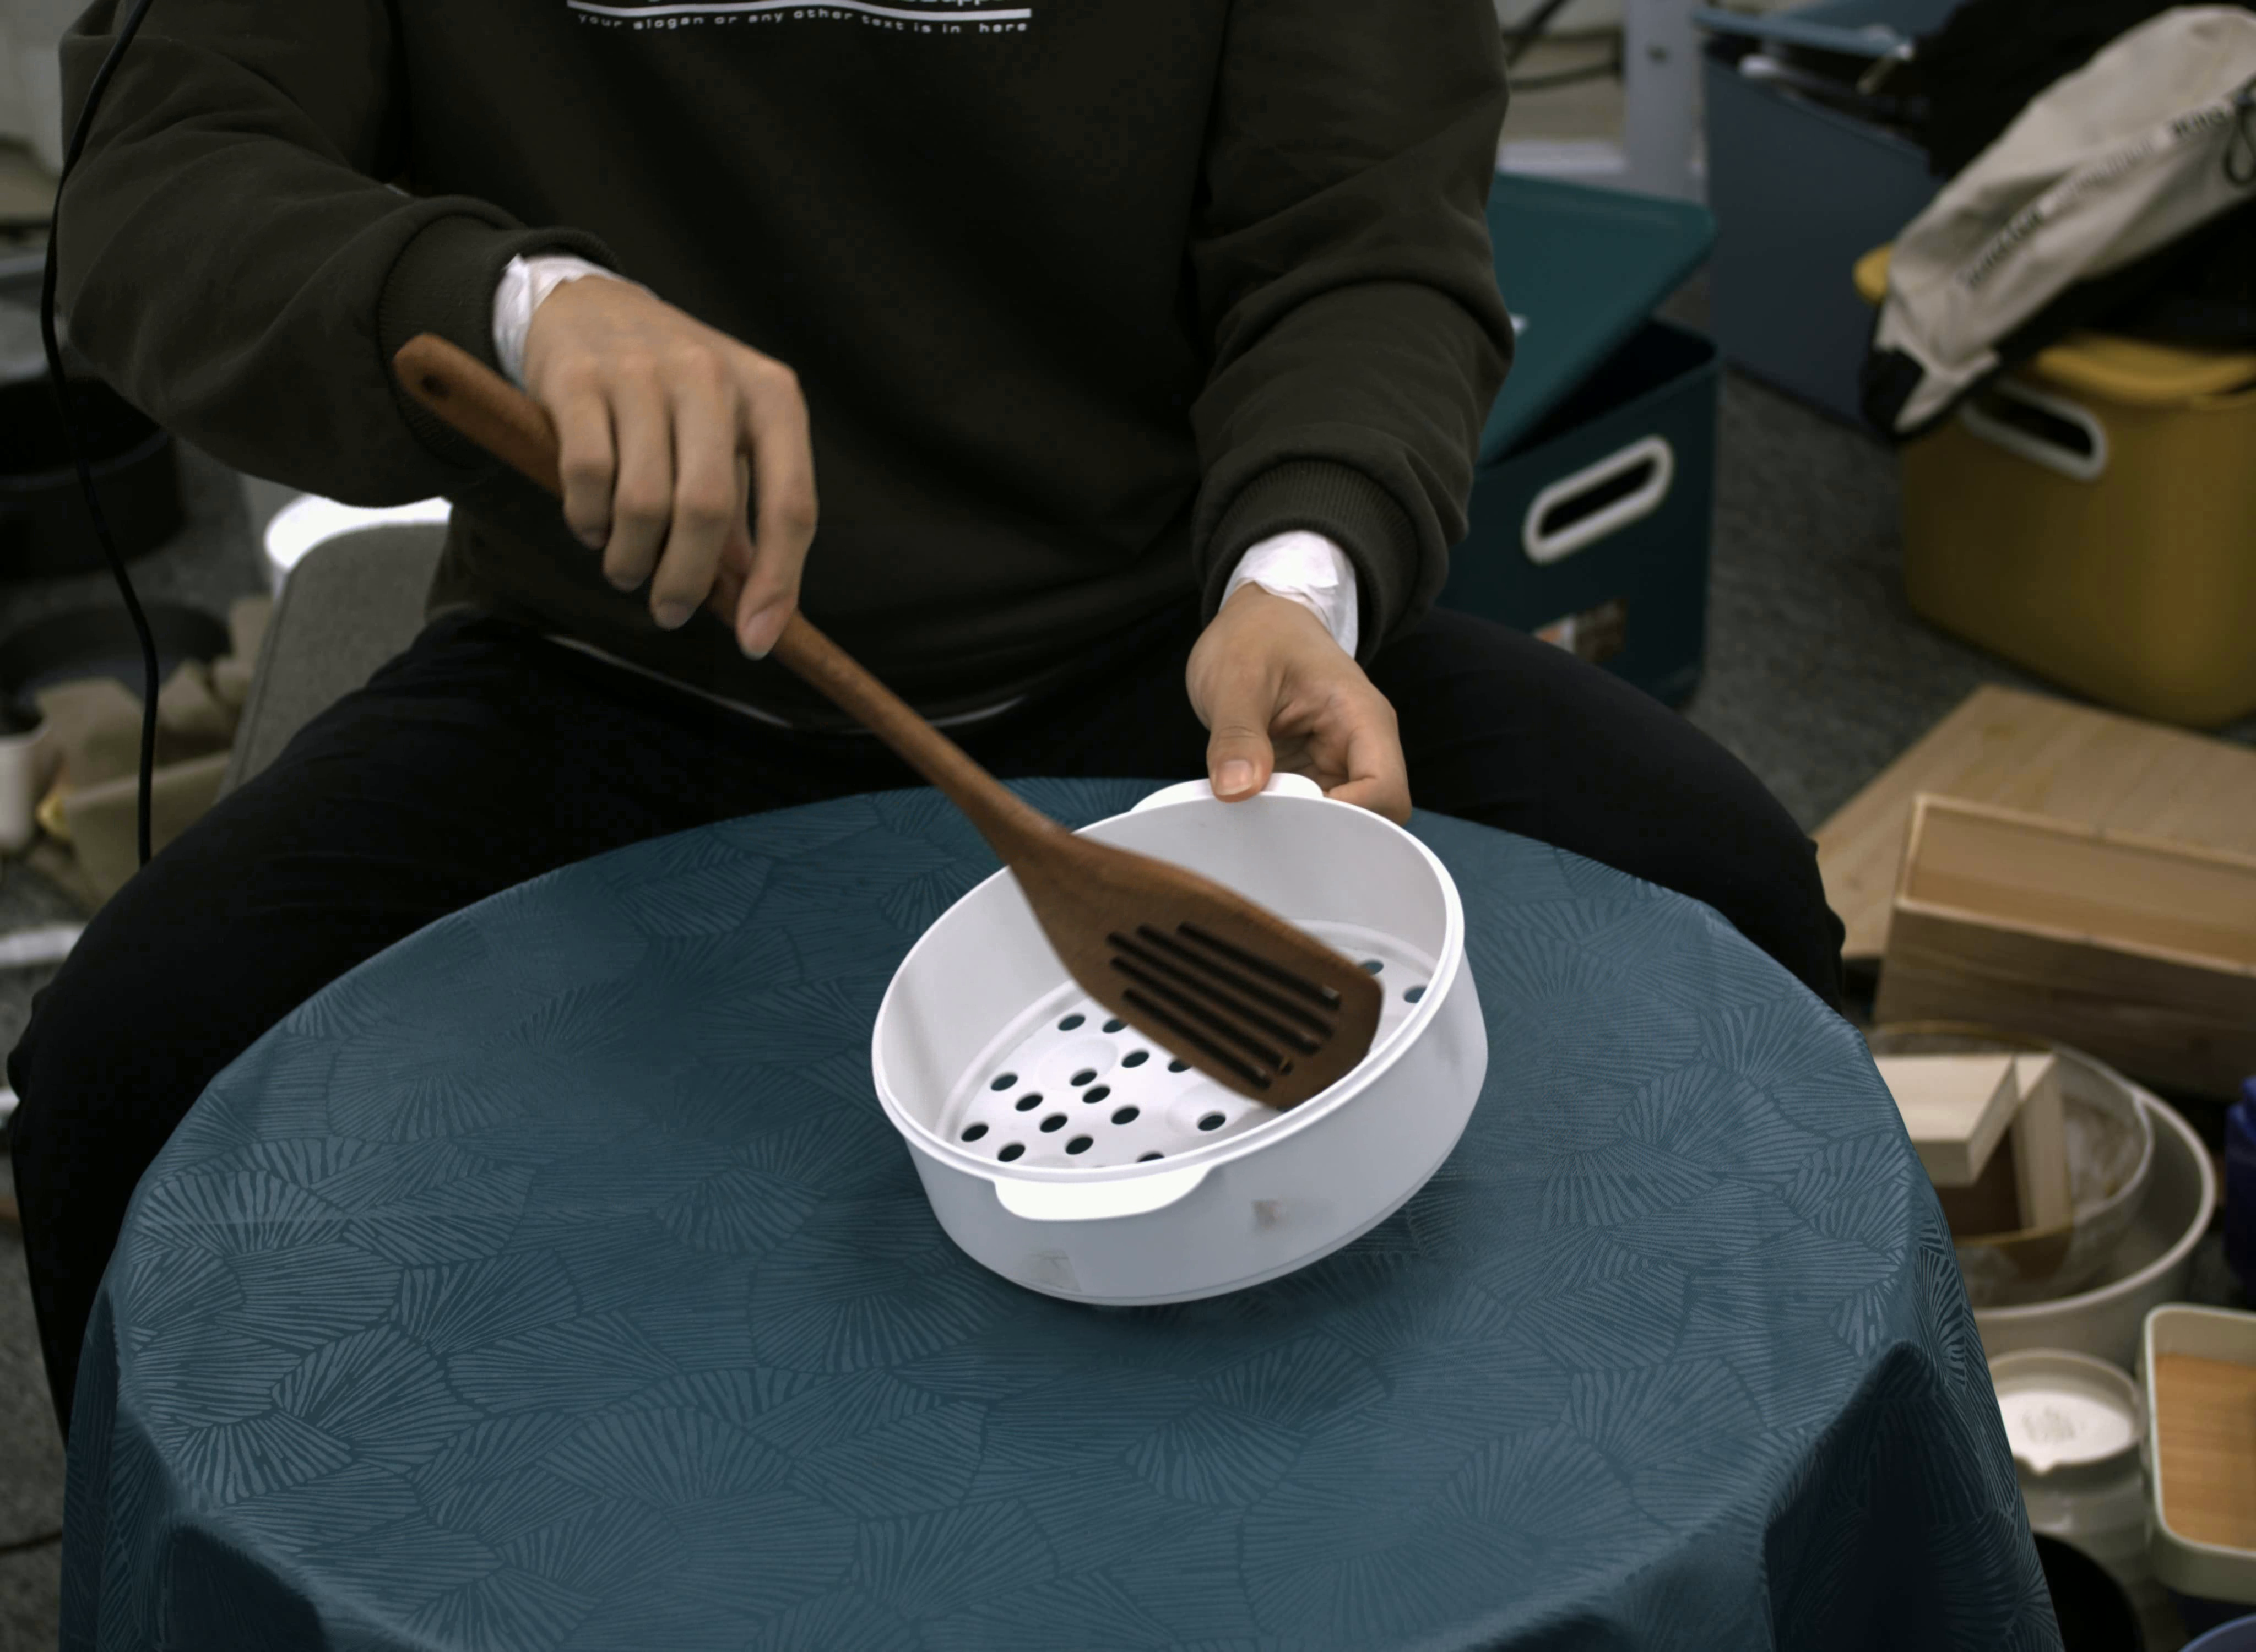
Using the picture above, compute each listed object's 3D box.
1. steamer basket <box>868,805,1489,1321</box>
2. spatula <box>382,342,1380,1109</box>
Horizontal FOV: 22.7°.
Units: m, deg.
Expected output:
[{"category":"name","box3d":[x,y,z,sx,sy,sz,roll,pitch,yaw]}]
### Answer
[{"category":"steamer basket","box3d":[0.019,0.080,1.839,0.200,0.068,0.235,-4,32,18]},{"category":"spatula","box3d":[-0.085,-0.035,1.812,0.385,0.084,0.024,38,49,2]}]
